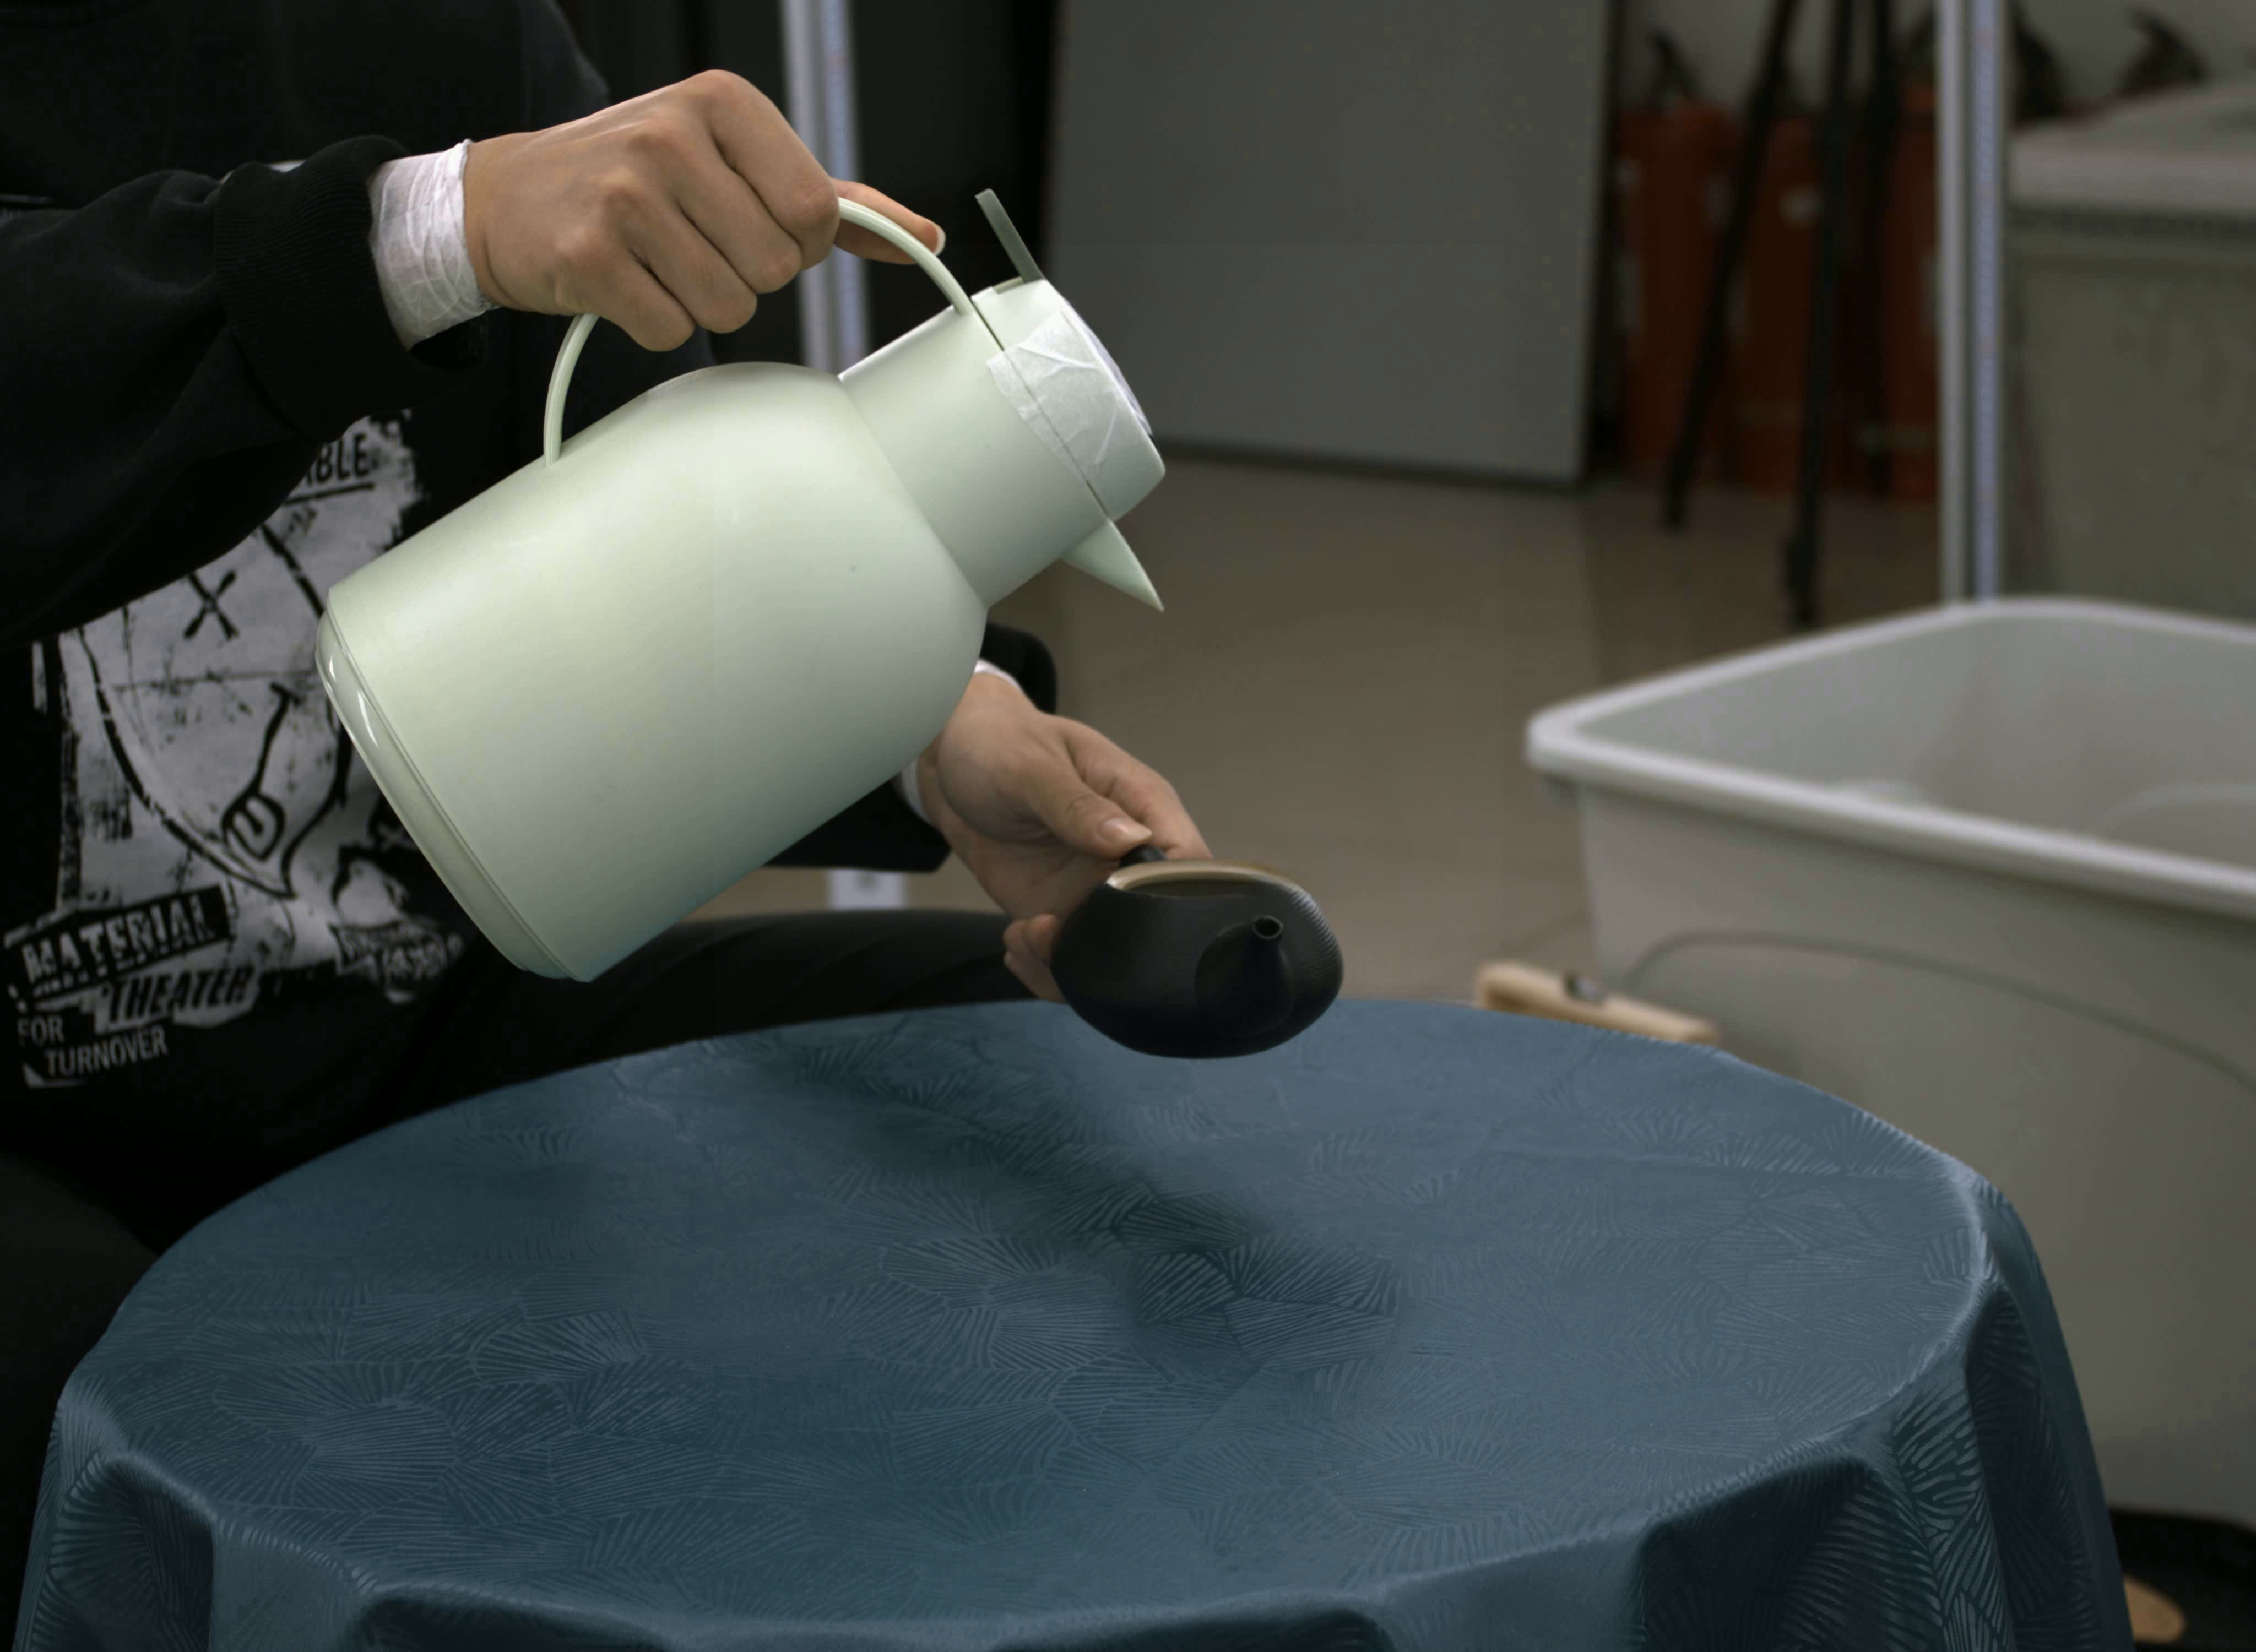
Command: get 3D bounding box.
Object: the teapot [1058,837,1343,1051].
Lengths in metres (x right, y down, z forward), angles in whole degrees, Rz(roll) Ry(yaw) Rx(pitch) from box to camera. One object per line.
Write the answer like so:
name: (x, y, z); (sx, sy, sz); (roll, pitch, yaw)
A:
teapot: (0.023, 0.039, 1.695); (0.089, 0.054, 0.134); (-4, 12, -18)

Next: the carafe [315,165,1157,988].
carafe: (-0.121, -0.087, 1.653); (0.256, 0.186, 0.145); (-37, 11, 3)
